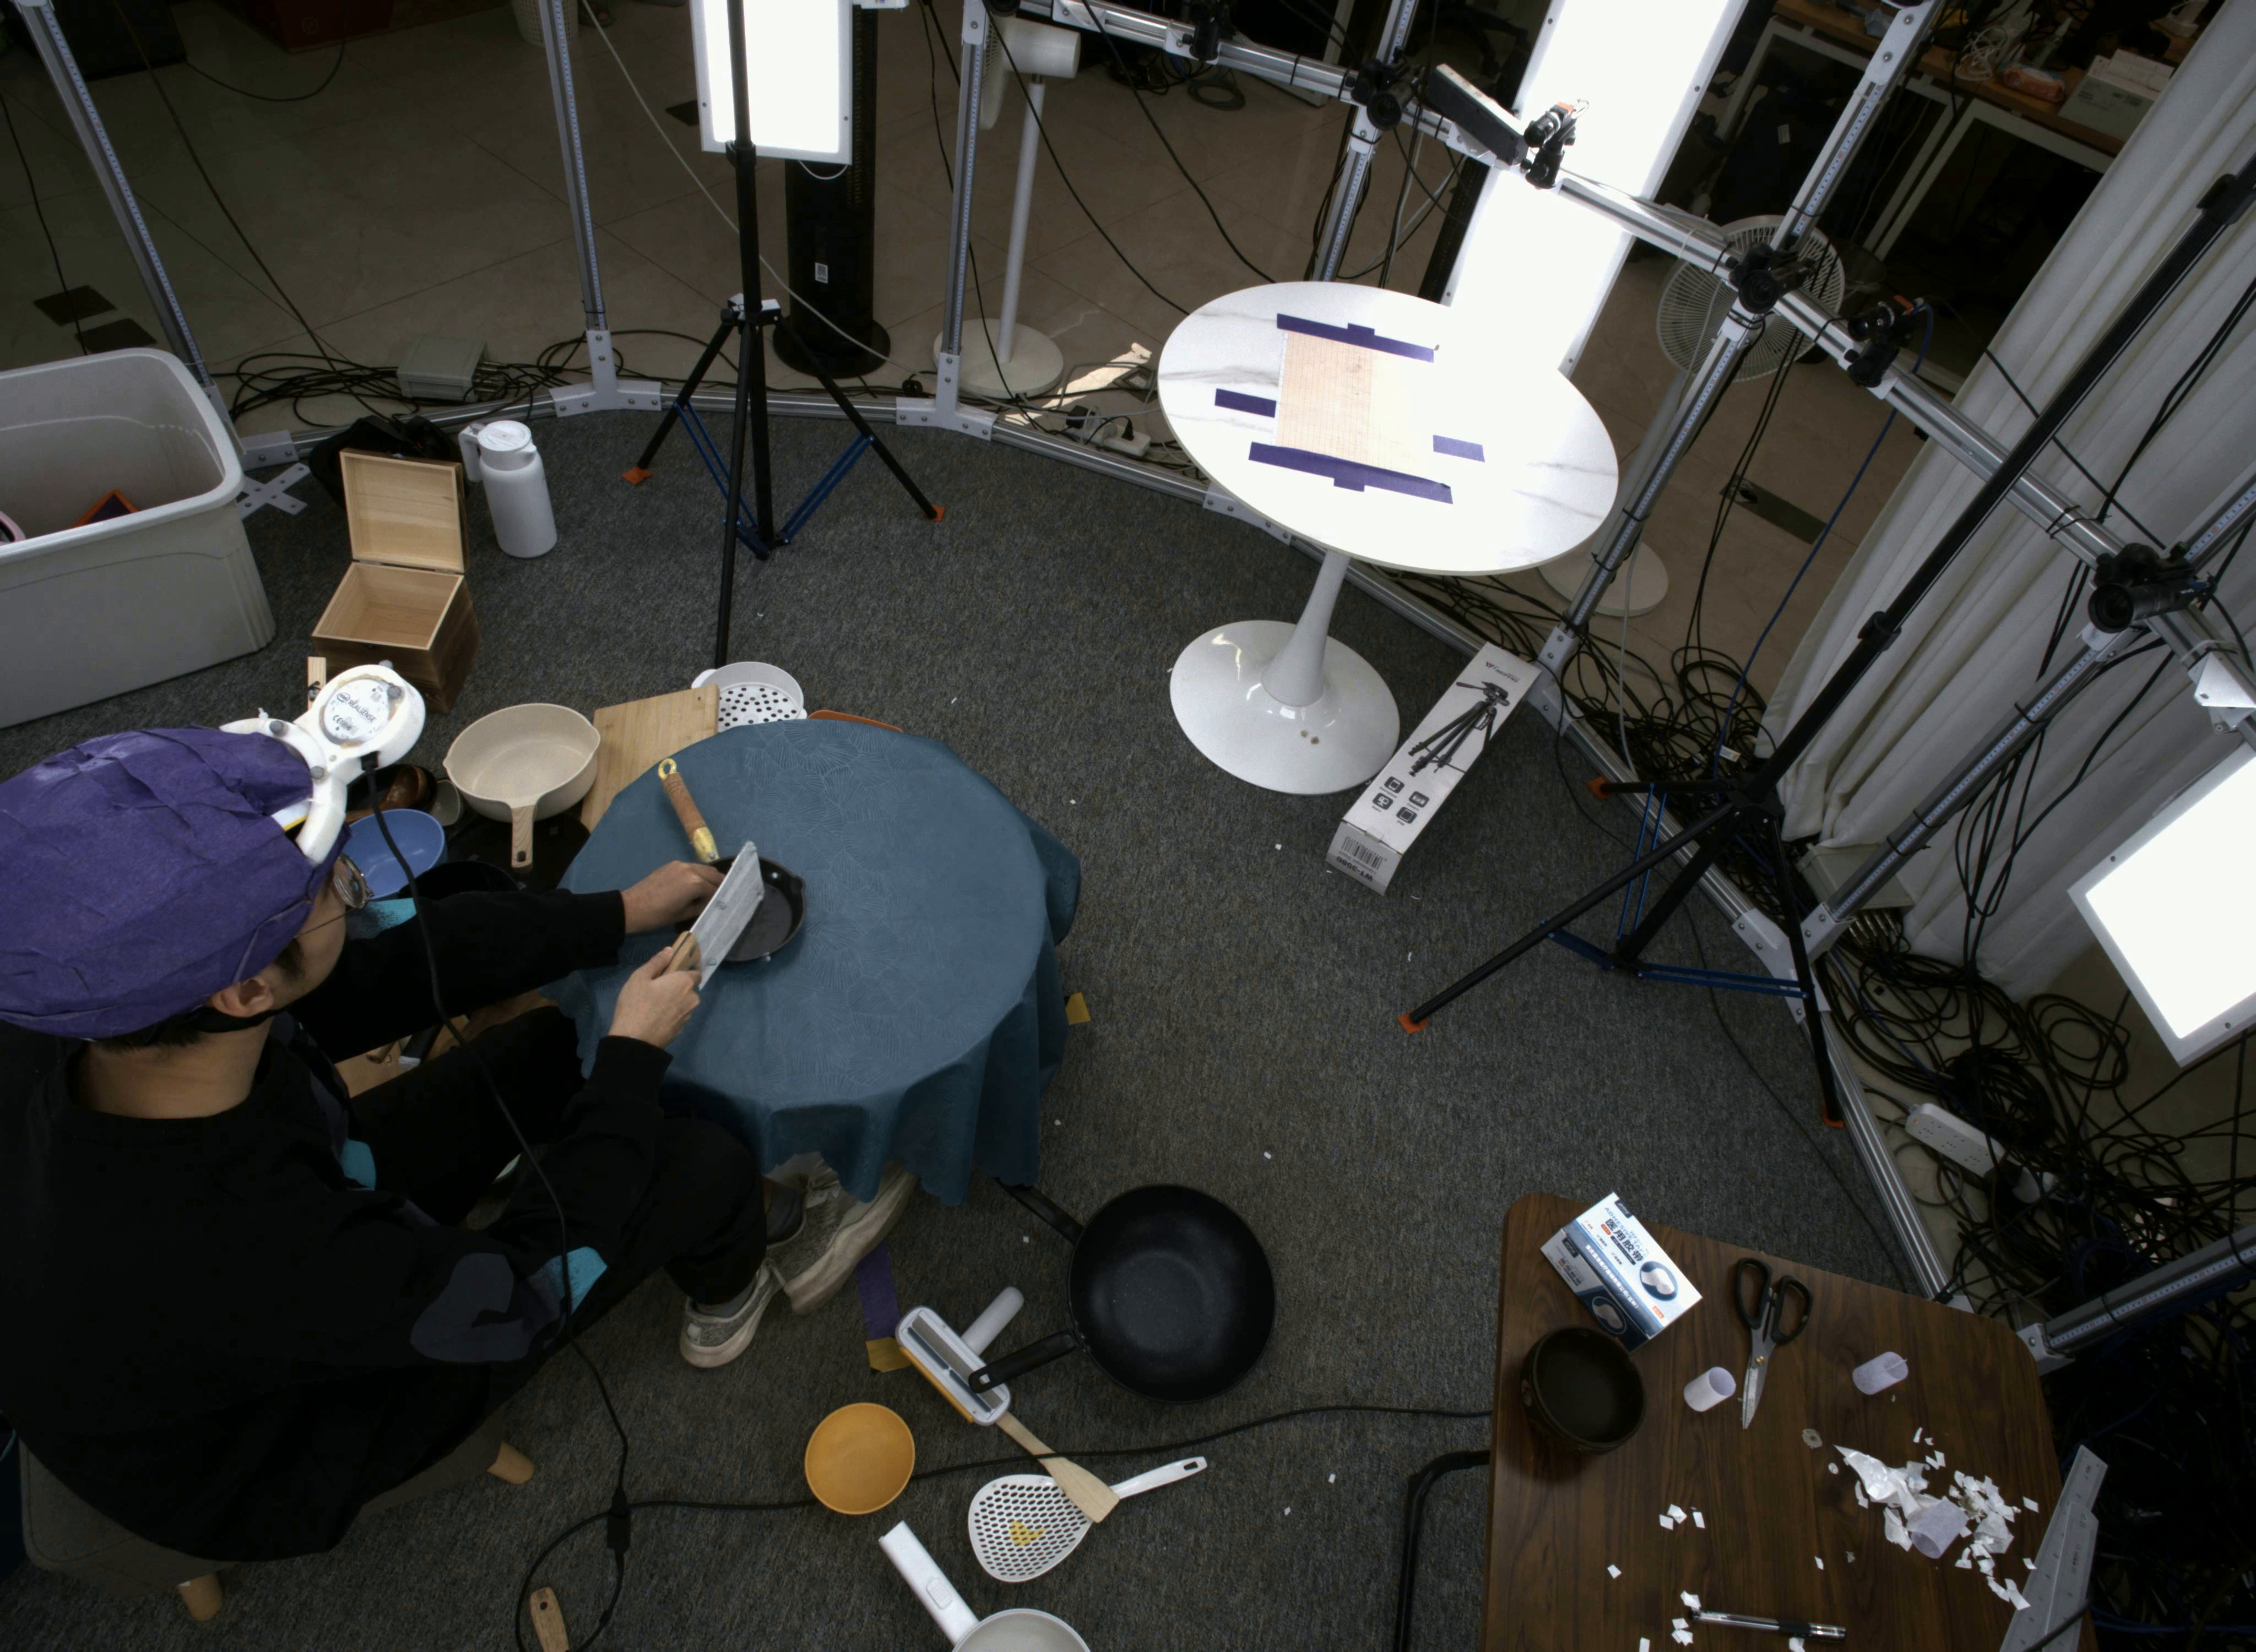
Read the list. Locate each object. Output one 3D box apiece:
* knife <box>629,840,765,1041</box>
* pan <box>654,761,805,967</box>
[{"bbox_3d":[-0.485,0.129,1.472,0.021,0.117,0.311,8,33,8],"label":"knife"},{"bbox_3d":[-0.523,0.043,1.622,0.169,0.050,0.316,-24,64,-28],"label":"pan"}]
